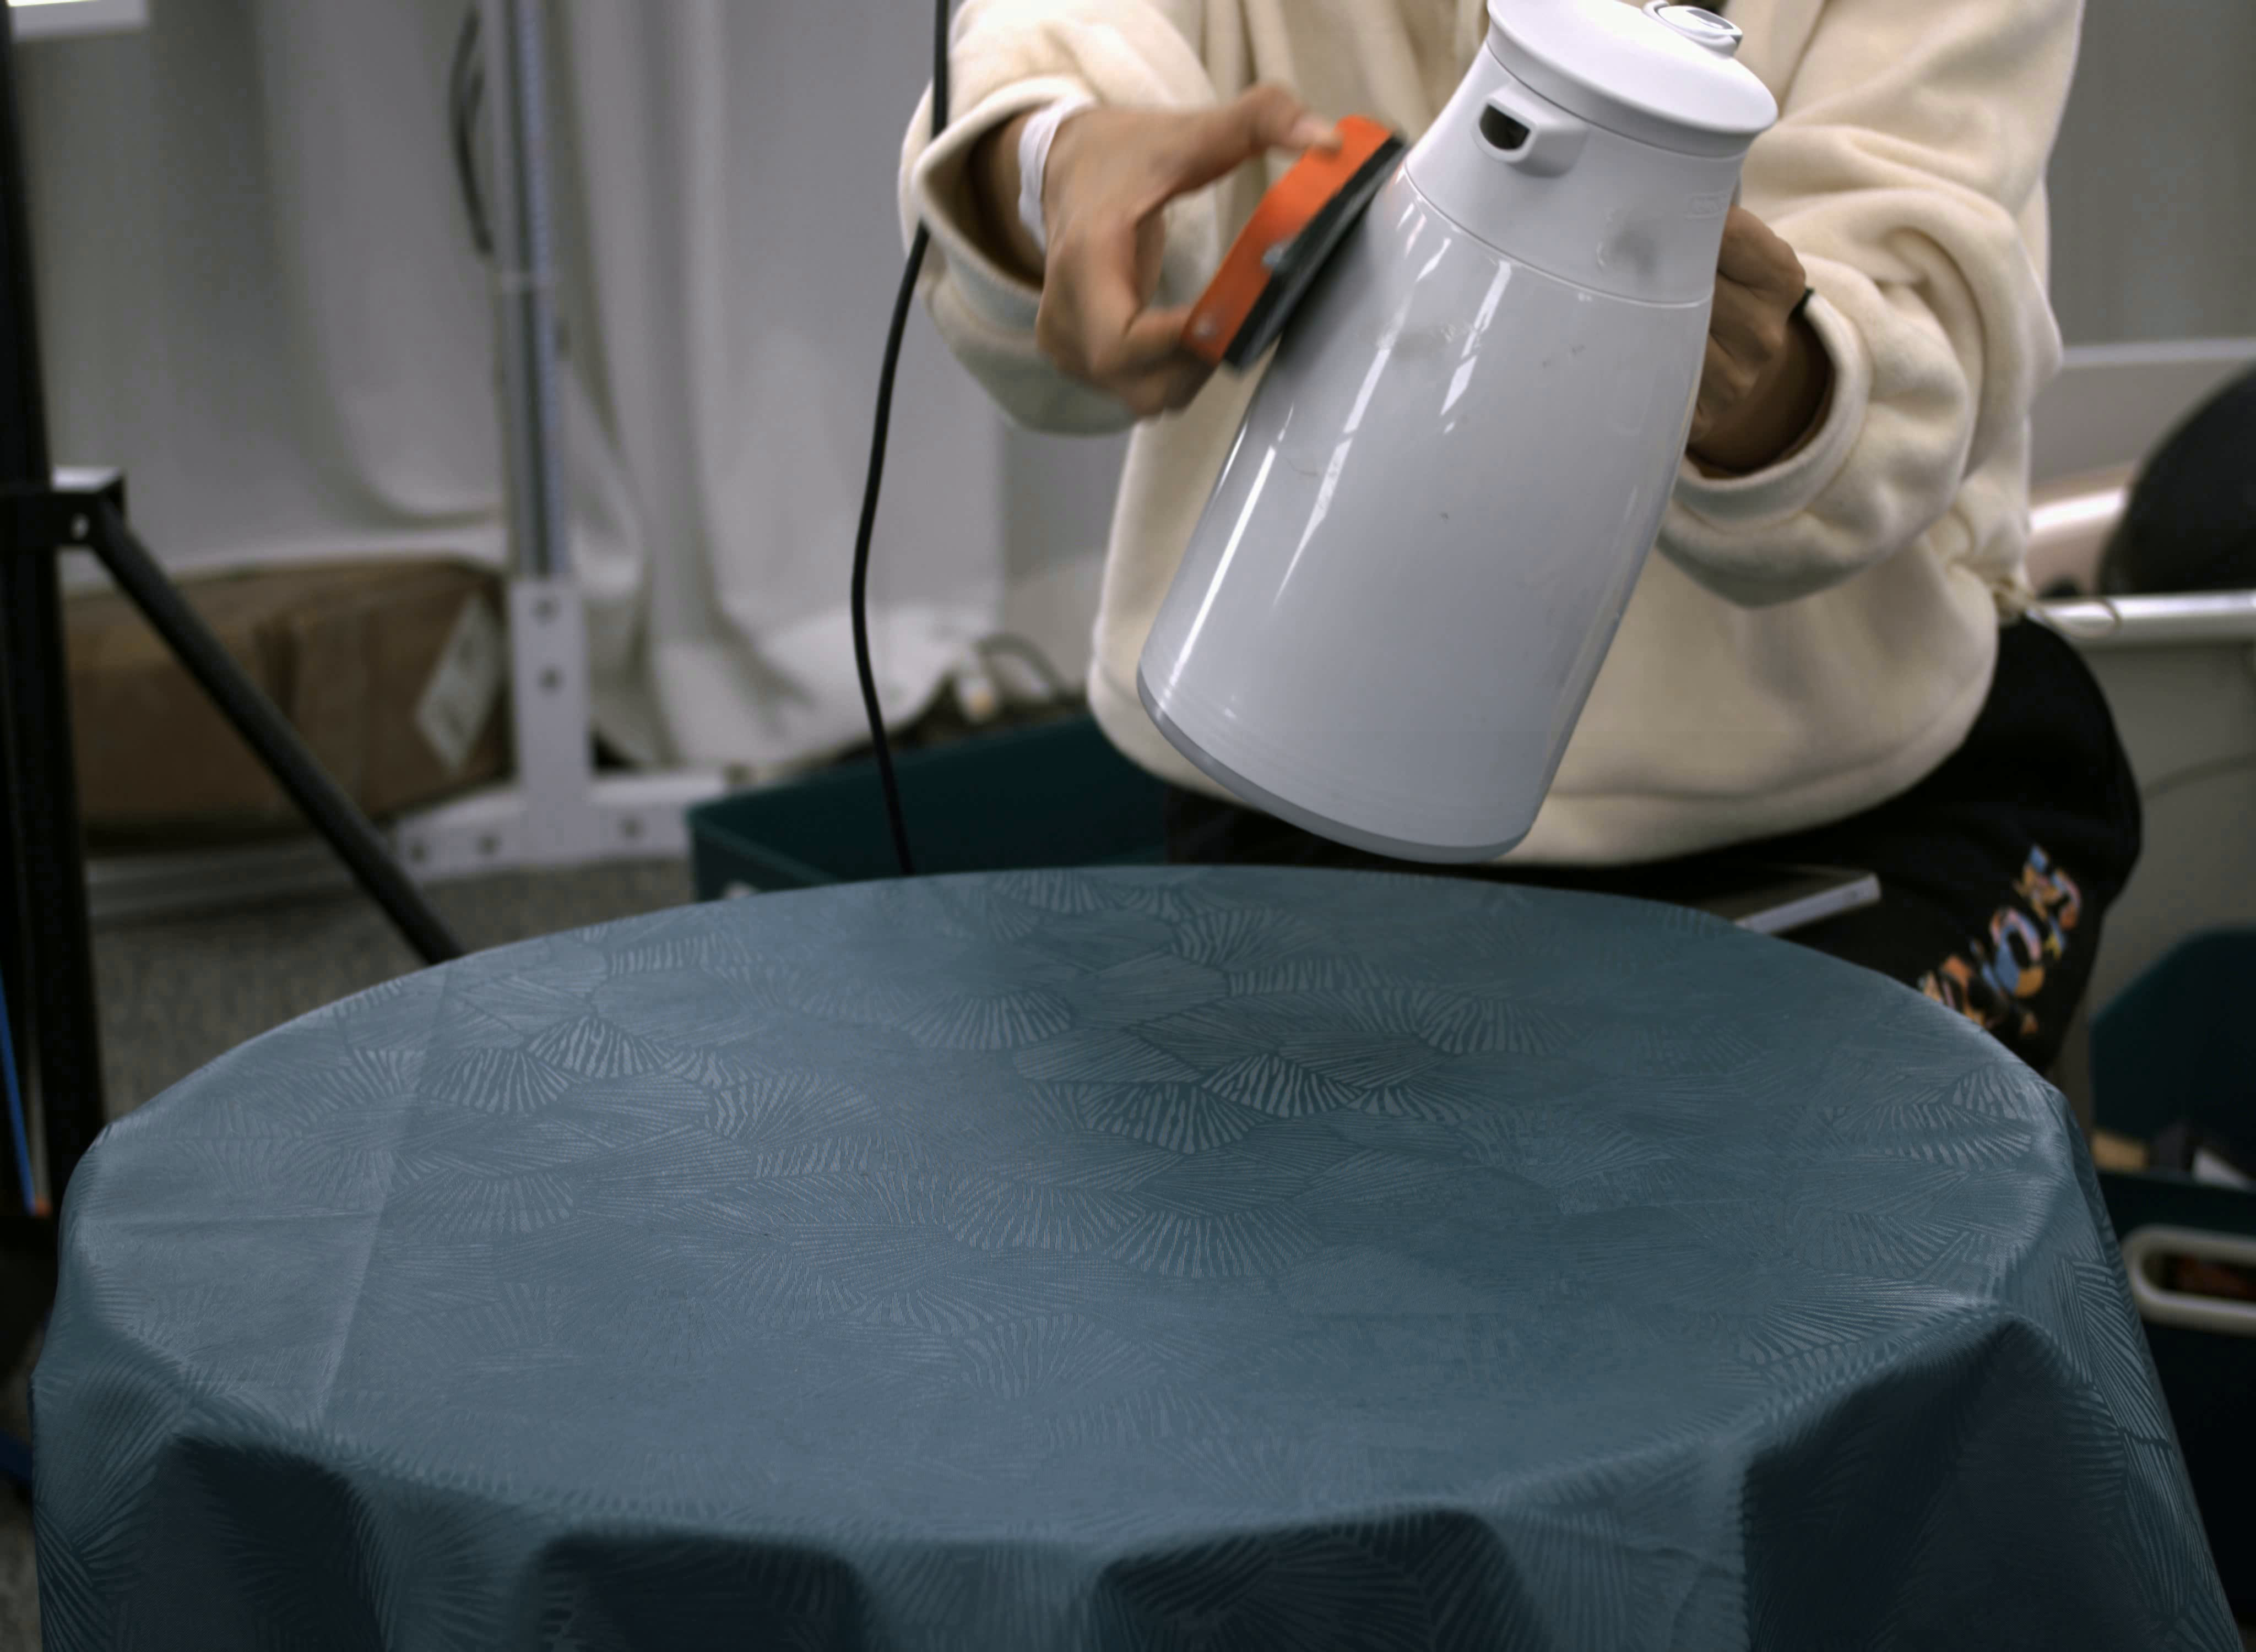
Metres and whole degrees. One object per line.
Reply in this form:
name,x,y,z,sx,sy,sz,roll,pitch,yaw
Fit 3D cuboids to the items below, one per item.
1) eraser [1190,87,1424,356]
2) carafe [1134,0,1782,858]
eraser,0.054,-0.181,1.590,0.023,0.059,0.107,35,27,2
carafe,0.116,-0.133,1.606,0.135,0.249,0.164,34,26,24
